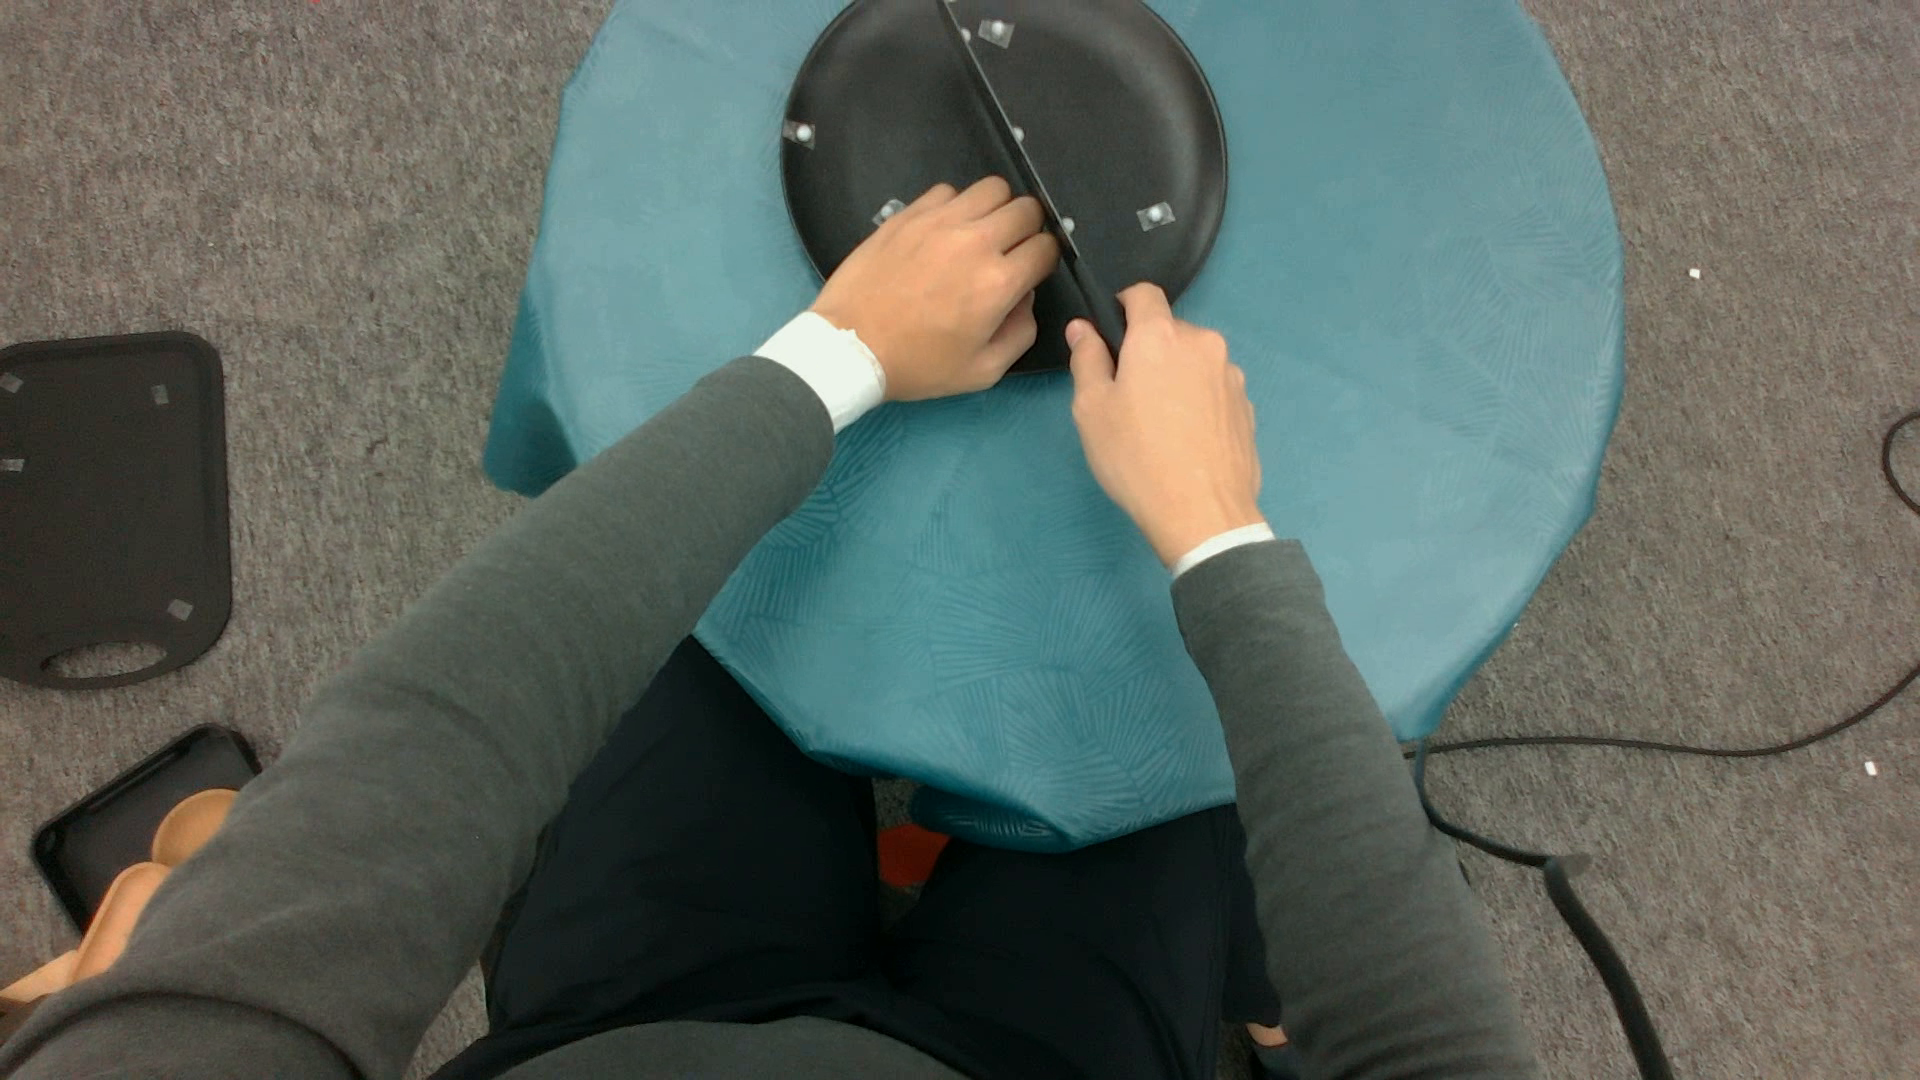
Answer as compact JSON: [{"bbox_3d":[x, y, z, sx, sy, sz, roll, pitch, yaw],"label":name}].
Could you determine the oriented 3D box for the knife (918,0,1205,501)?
[{"bbox_3d":[0.044,-0.153,0.693,0.021,0.081,0.303,-27,74,3],"label":"knife"}]

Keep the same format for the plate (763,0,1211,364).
[{"bbox_3d":[0.015,-0.210,0.753,0.244,0.023,0.245,1,78,-4],"label":"plate"}]
